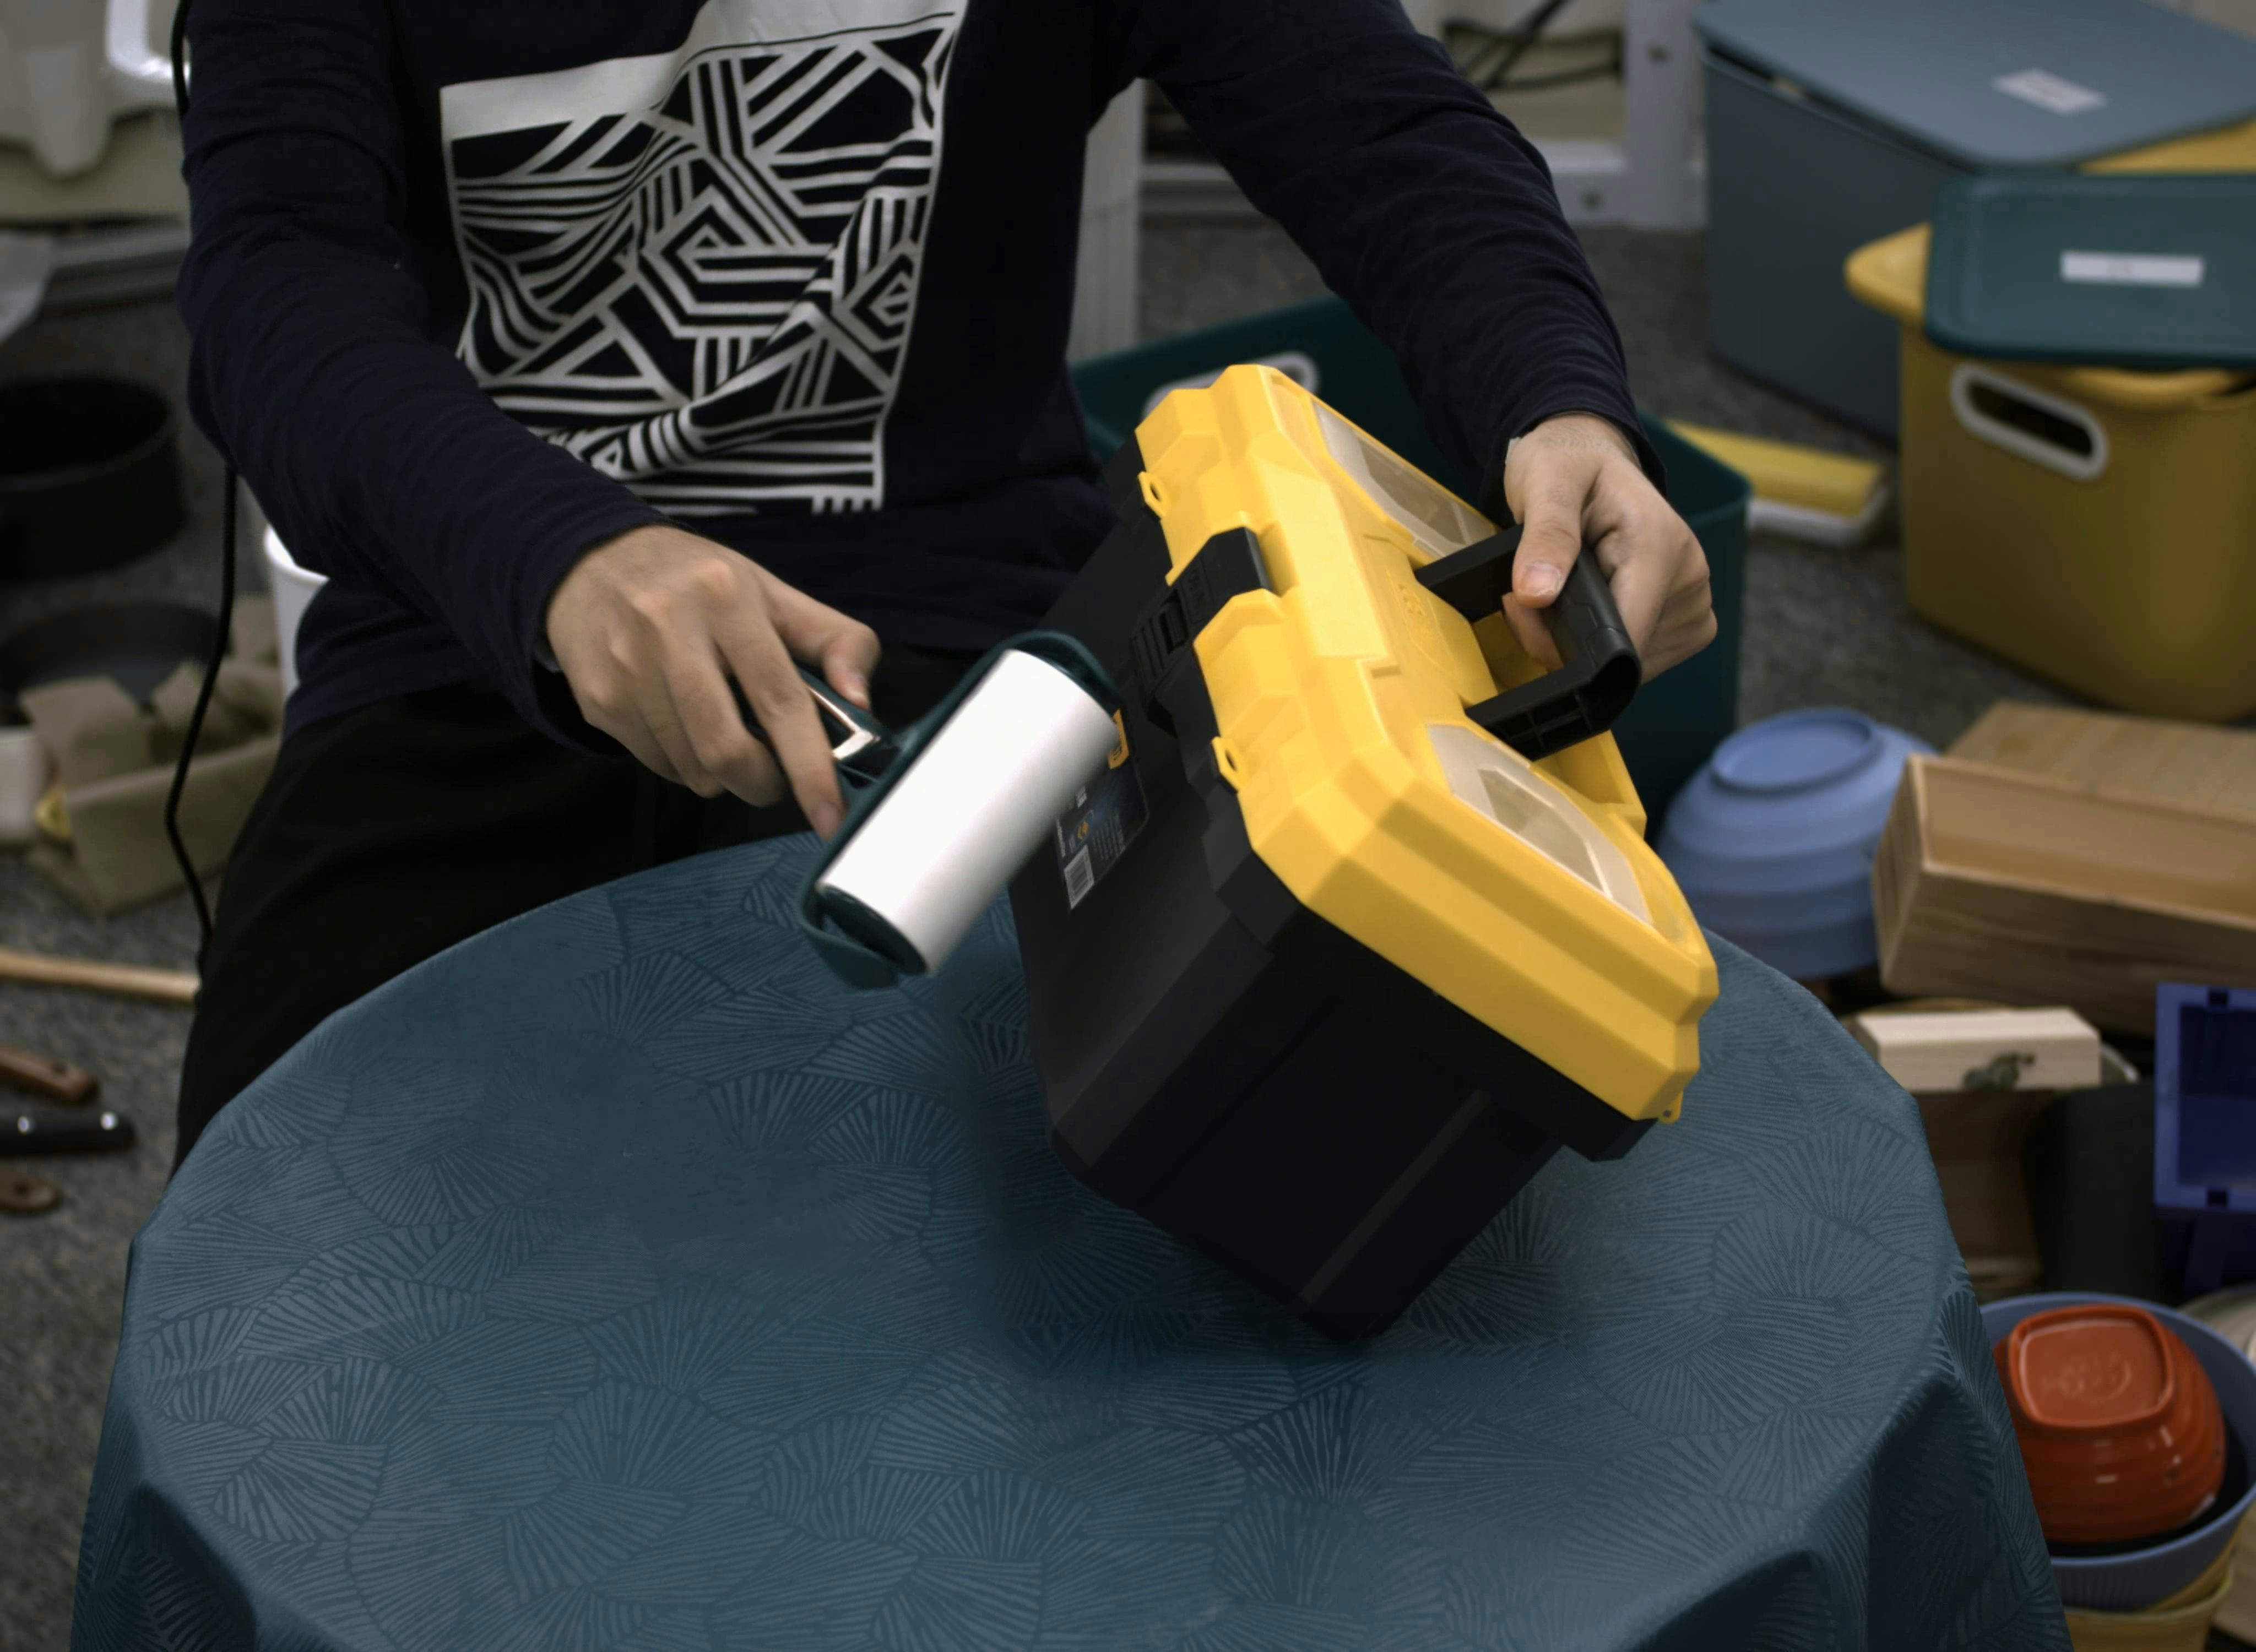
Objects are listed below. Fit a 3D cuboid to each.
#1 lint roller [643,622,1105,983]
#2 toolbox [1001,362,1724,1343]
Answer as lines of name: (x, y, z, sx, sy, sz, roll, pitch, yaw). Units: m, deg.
lint roller: (-0.103, -0.032, 1.835, 0.180, 0.048, 0.136, 27, 70, 36)
toolbox: (0.058, 0.002, 1.860, 0.180, 0.171, 0.356, 34, 17, -21)
